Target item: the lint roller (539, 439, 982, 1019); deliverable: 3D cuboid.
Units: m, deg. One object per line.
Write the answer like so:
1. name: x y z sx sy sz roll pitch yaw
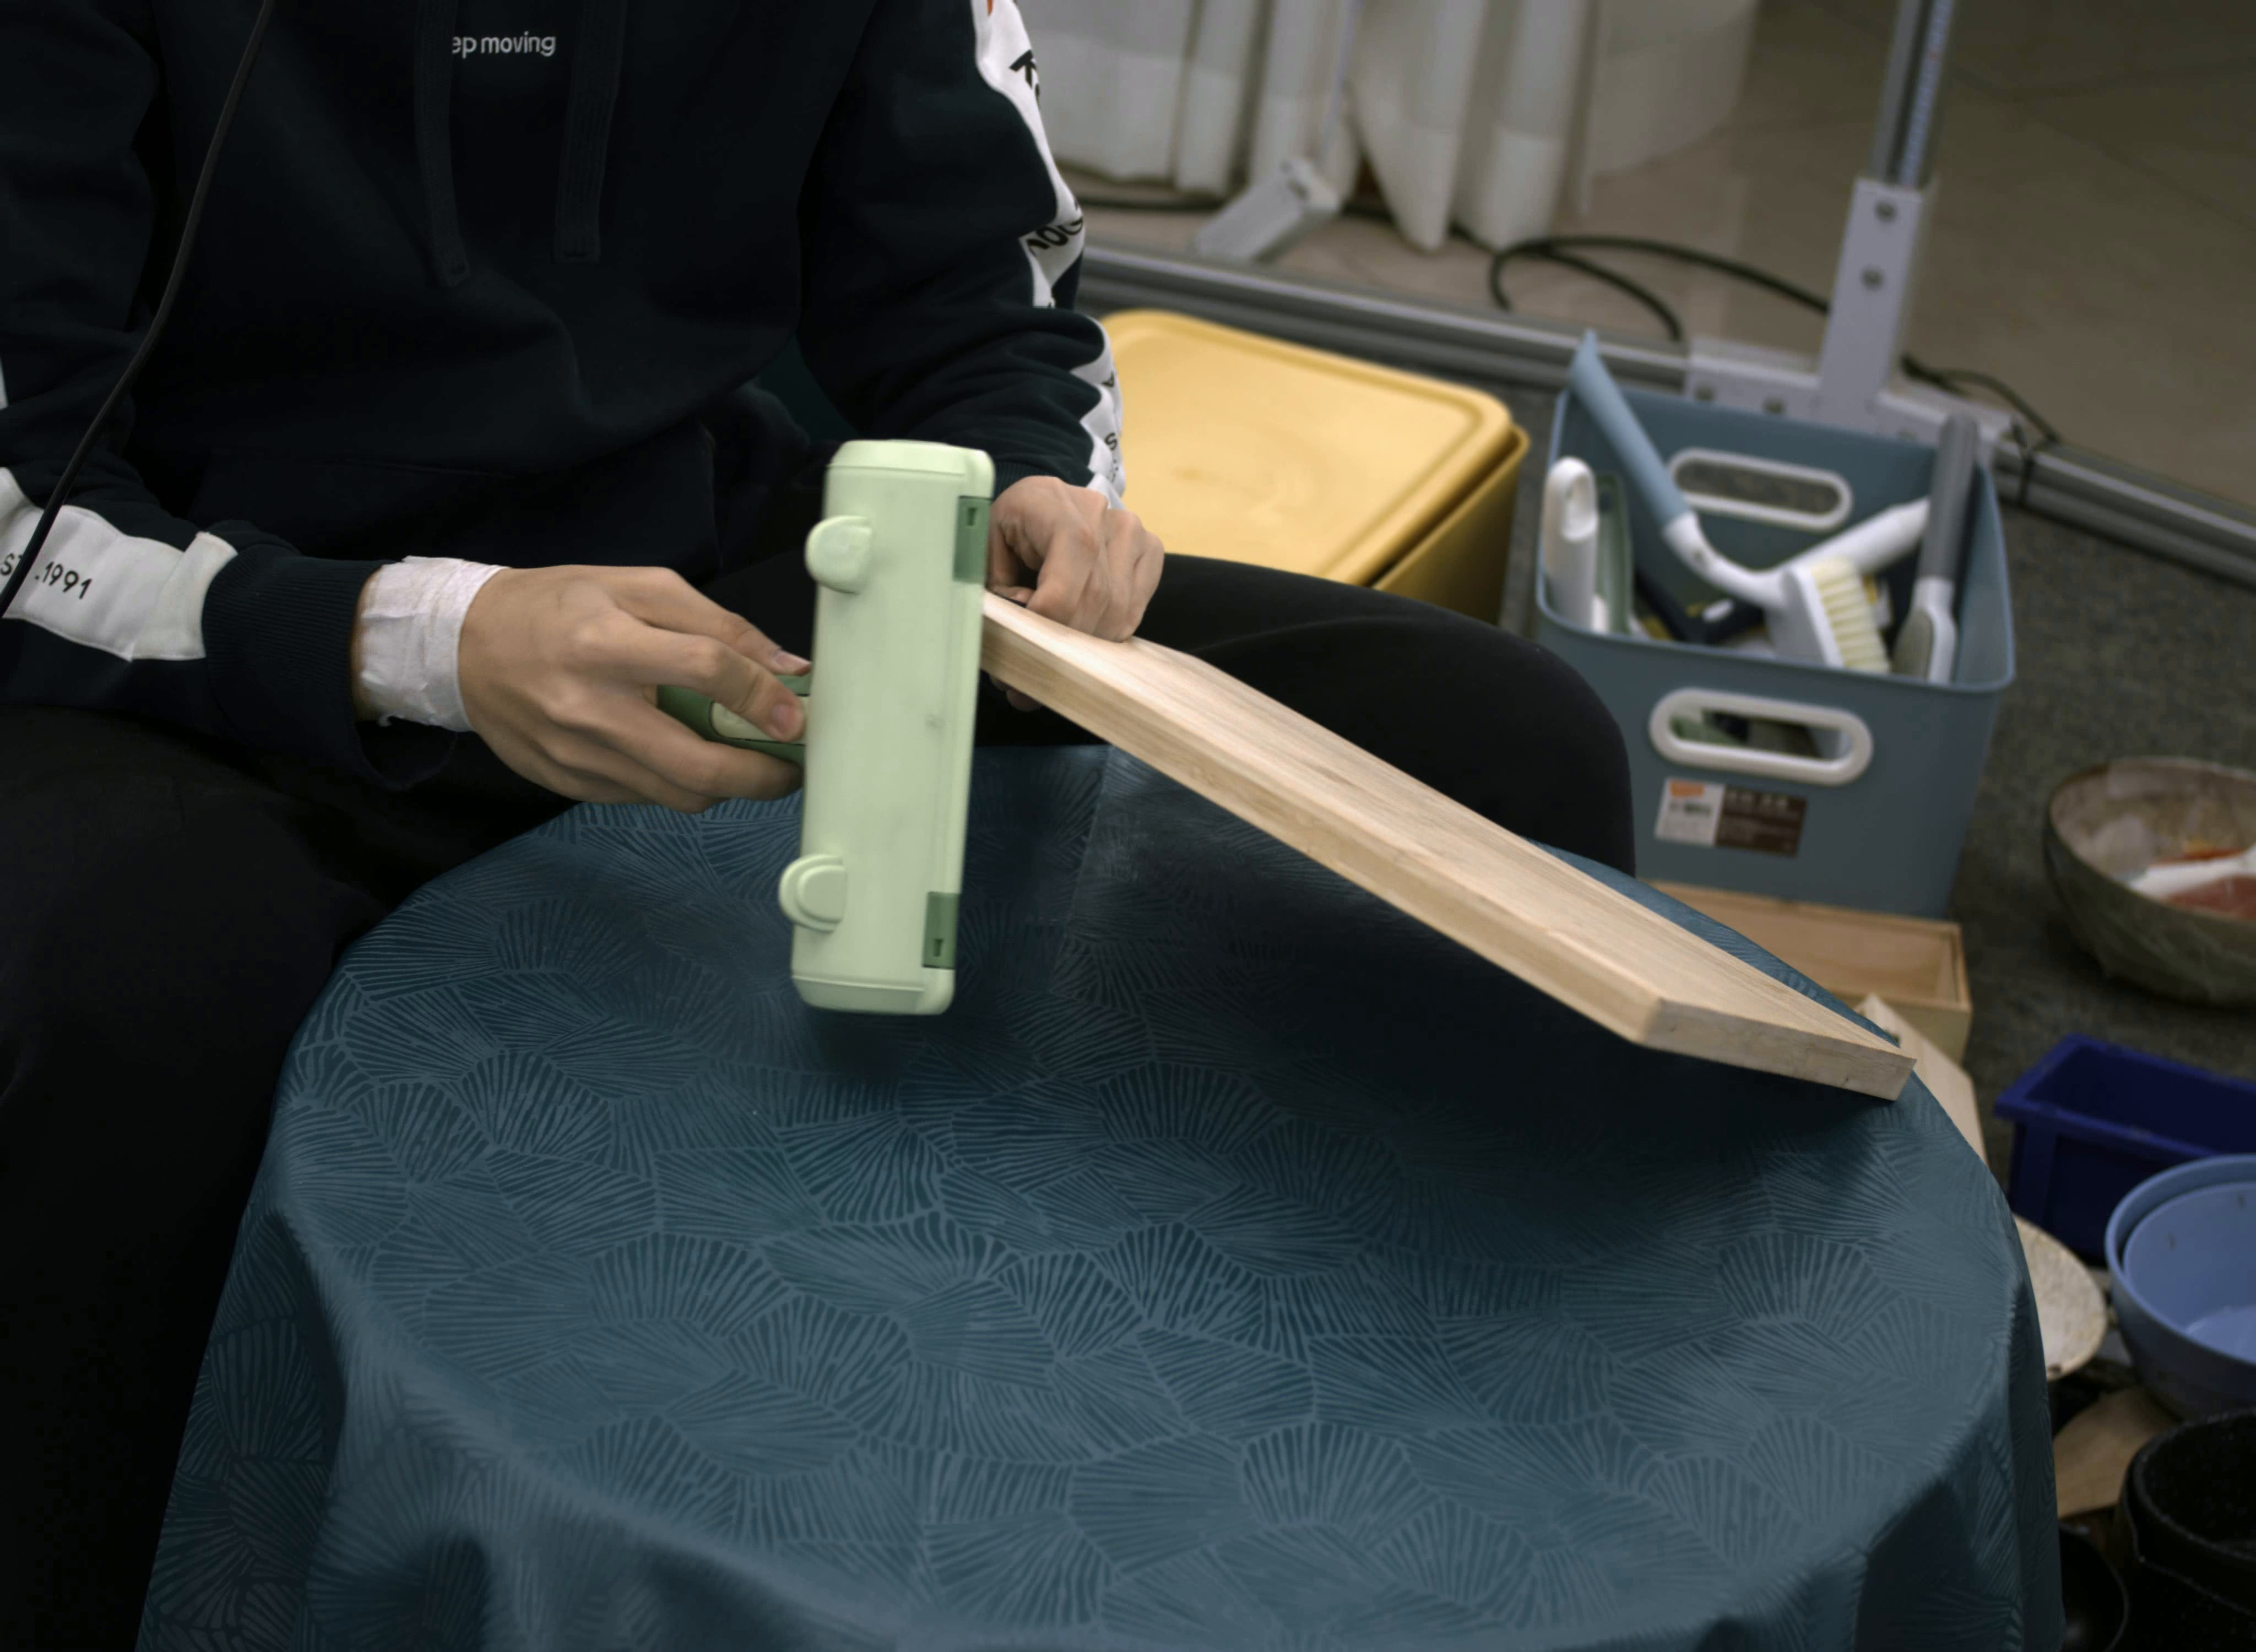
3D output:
1. lint roller: -0.139 -0.038 1.849 0.184 0.199 0.082 4 1 23

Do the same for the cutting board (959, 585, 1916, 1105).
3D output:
1. cutting board: 0.092 0.003 1.892 0.351 0.023 0.249 30 7 29
